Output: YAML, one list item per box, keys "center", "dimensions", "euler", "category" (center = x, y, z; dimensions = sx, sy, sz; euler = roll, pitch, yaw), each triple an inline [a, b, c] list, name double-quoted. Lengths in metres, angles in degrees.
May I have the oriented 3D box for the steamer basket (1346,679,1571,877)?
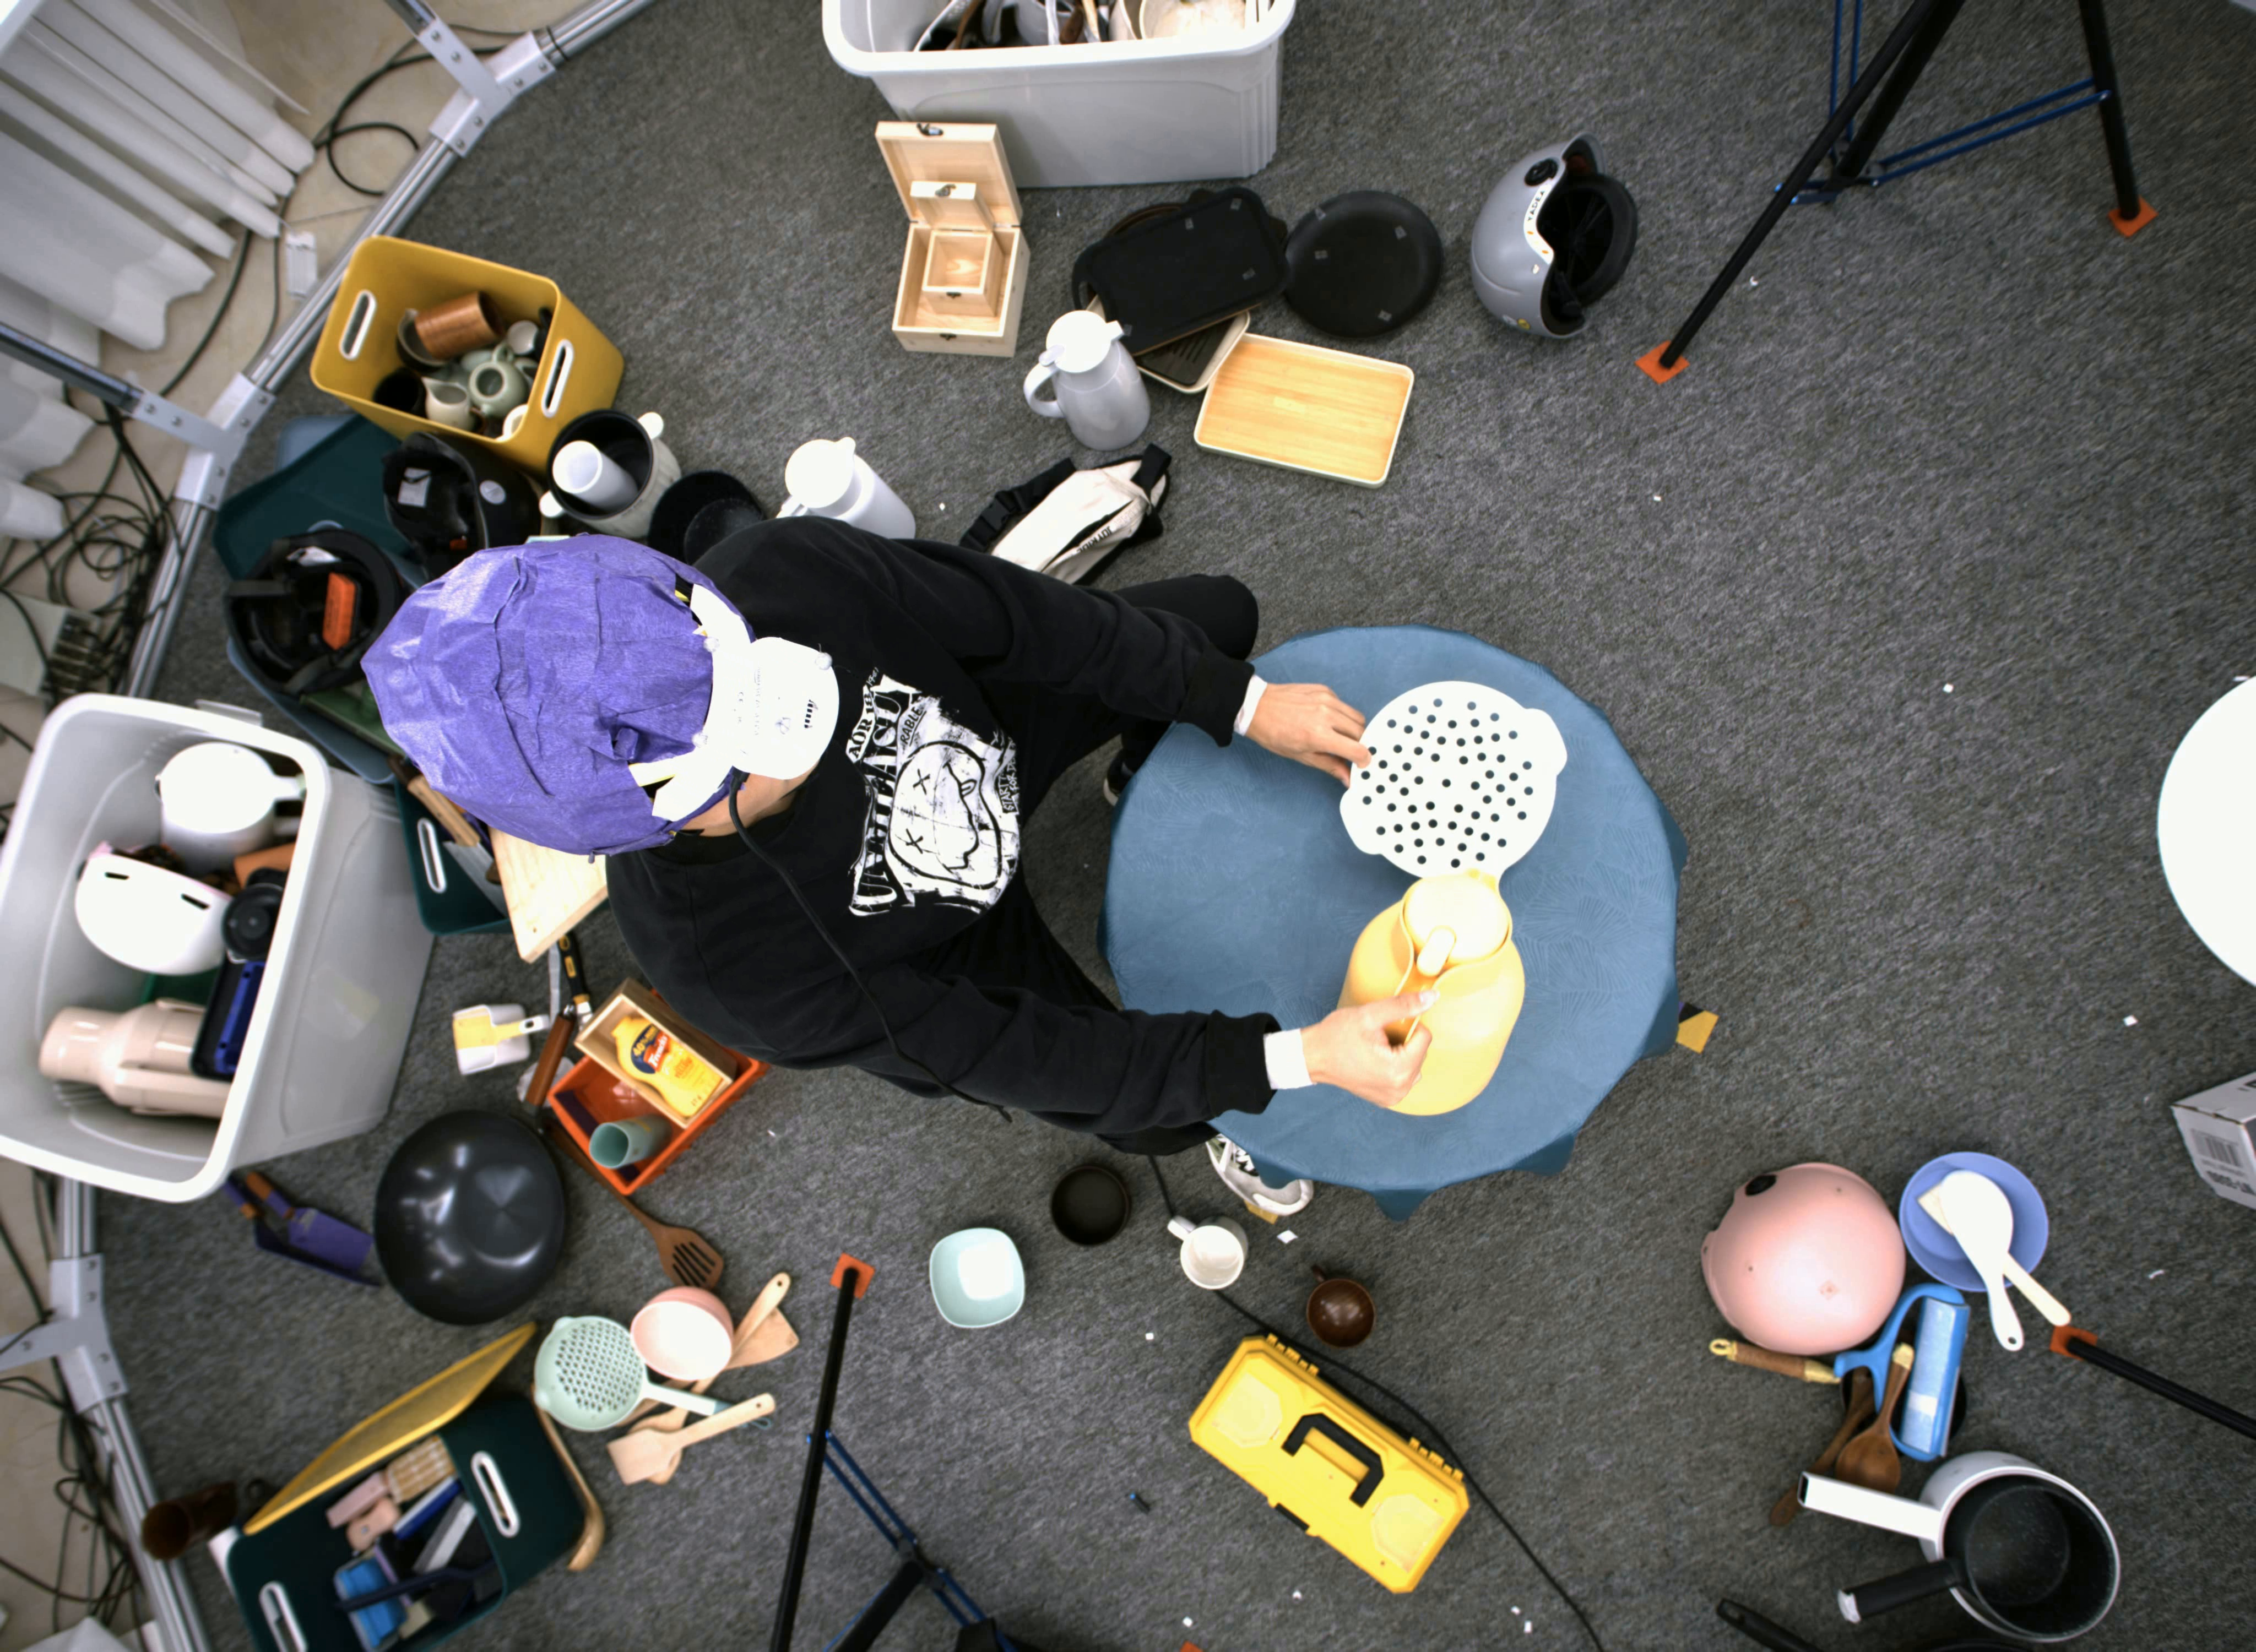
- center: [0.332, -0.049, 1.396]
  dimensions: [0.232, 0.069, 0.202]
  euler: [-25, 91, 7]
  category: "steamer basket"

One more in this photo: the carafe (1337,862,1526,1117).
- center: [0.273, 0.162, 1.275]
  dimensions: [0.163, 0.267, 0.198]
  euler: [28, 59, 22]
  category: "carafe"
